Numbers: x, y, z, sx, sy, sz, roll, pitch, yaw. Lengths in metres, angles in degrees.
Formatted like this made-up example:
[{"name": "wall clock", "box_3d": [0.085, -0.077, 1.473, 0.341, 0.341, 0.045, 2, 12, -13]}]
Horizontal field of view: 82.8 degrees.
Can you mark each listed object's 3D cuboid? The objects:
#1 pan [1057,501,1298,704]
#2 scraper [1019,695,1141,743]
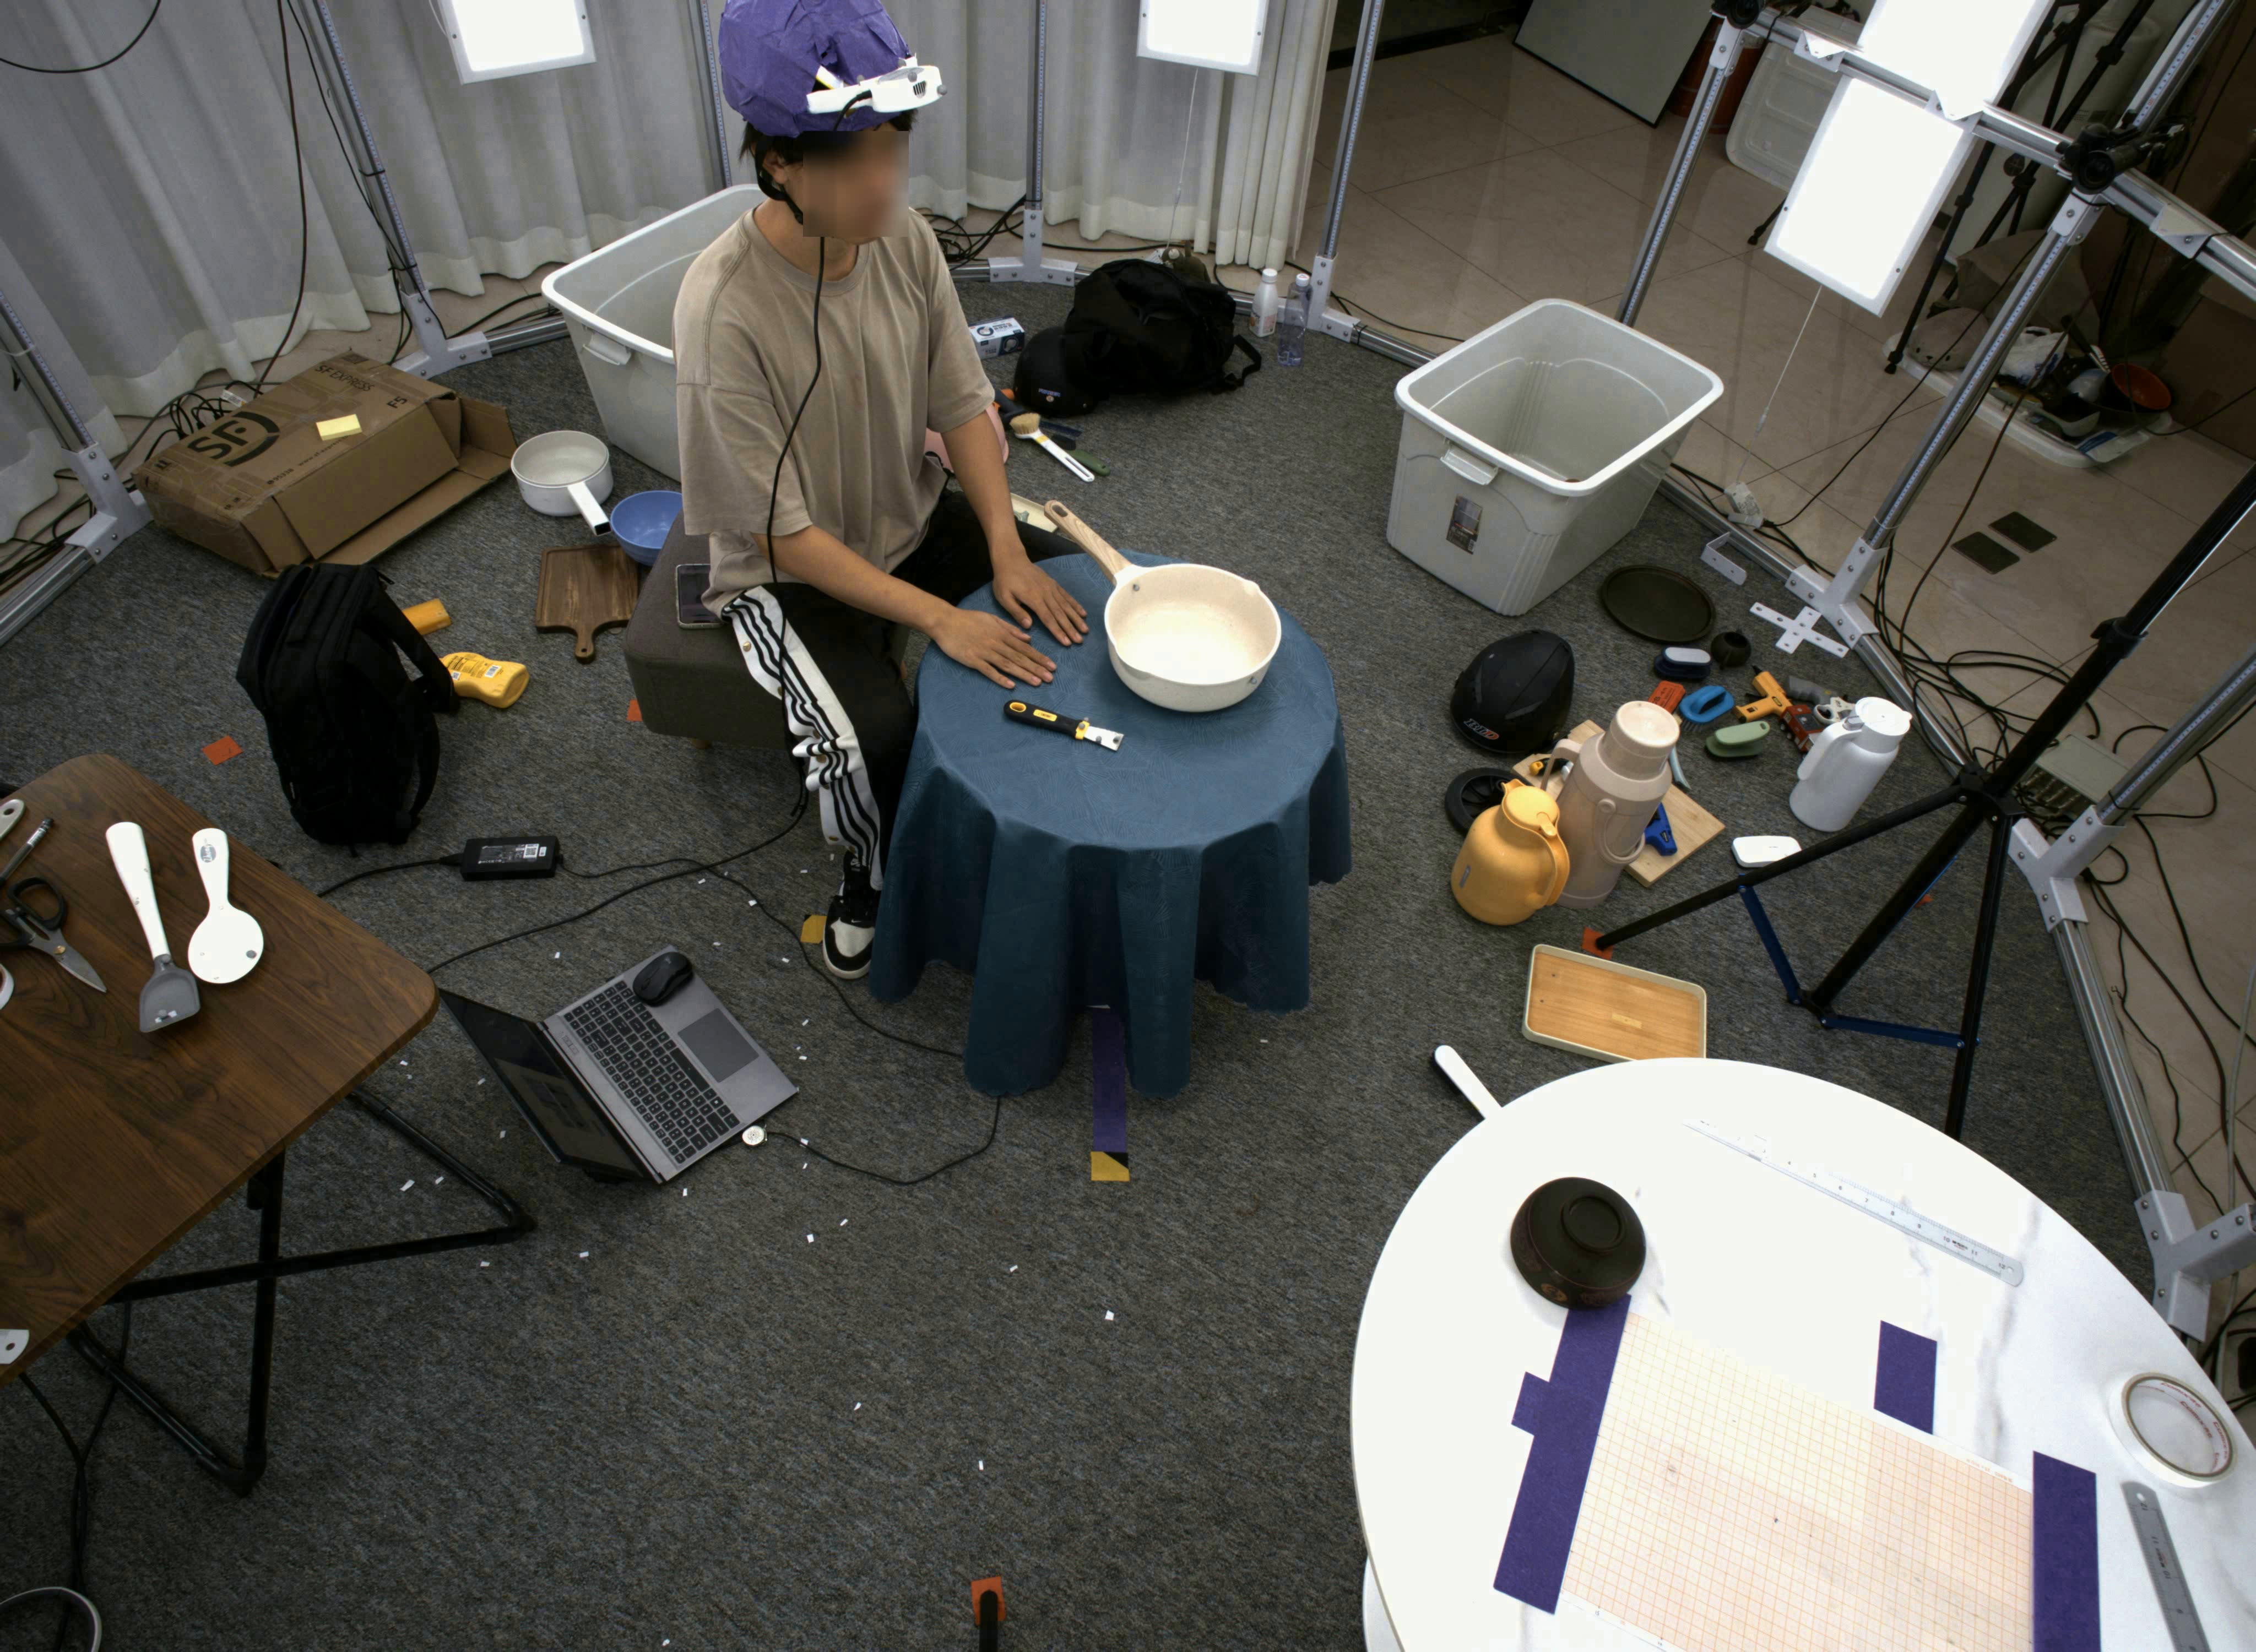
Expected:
[{"name": "pan", "box_3d": [0.051, -0.334, 1.889, 0.265, 0.099, 0.441, -35, 60, -28]}, {"name": "scraper", "box_3d": [-0.068, -0.149, 1.765, 0.171, 0.014, 0.039, 16, 53, 6]}]
